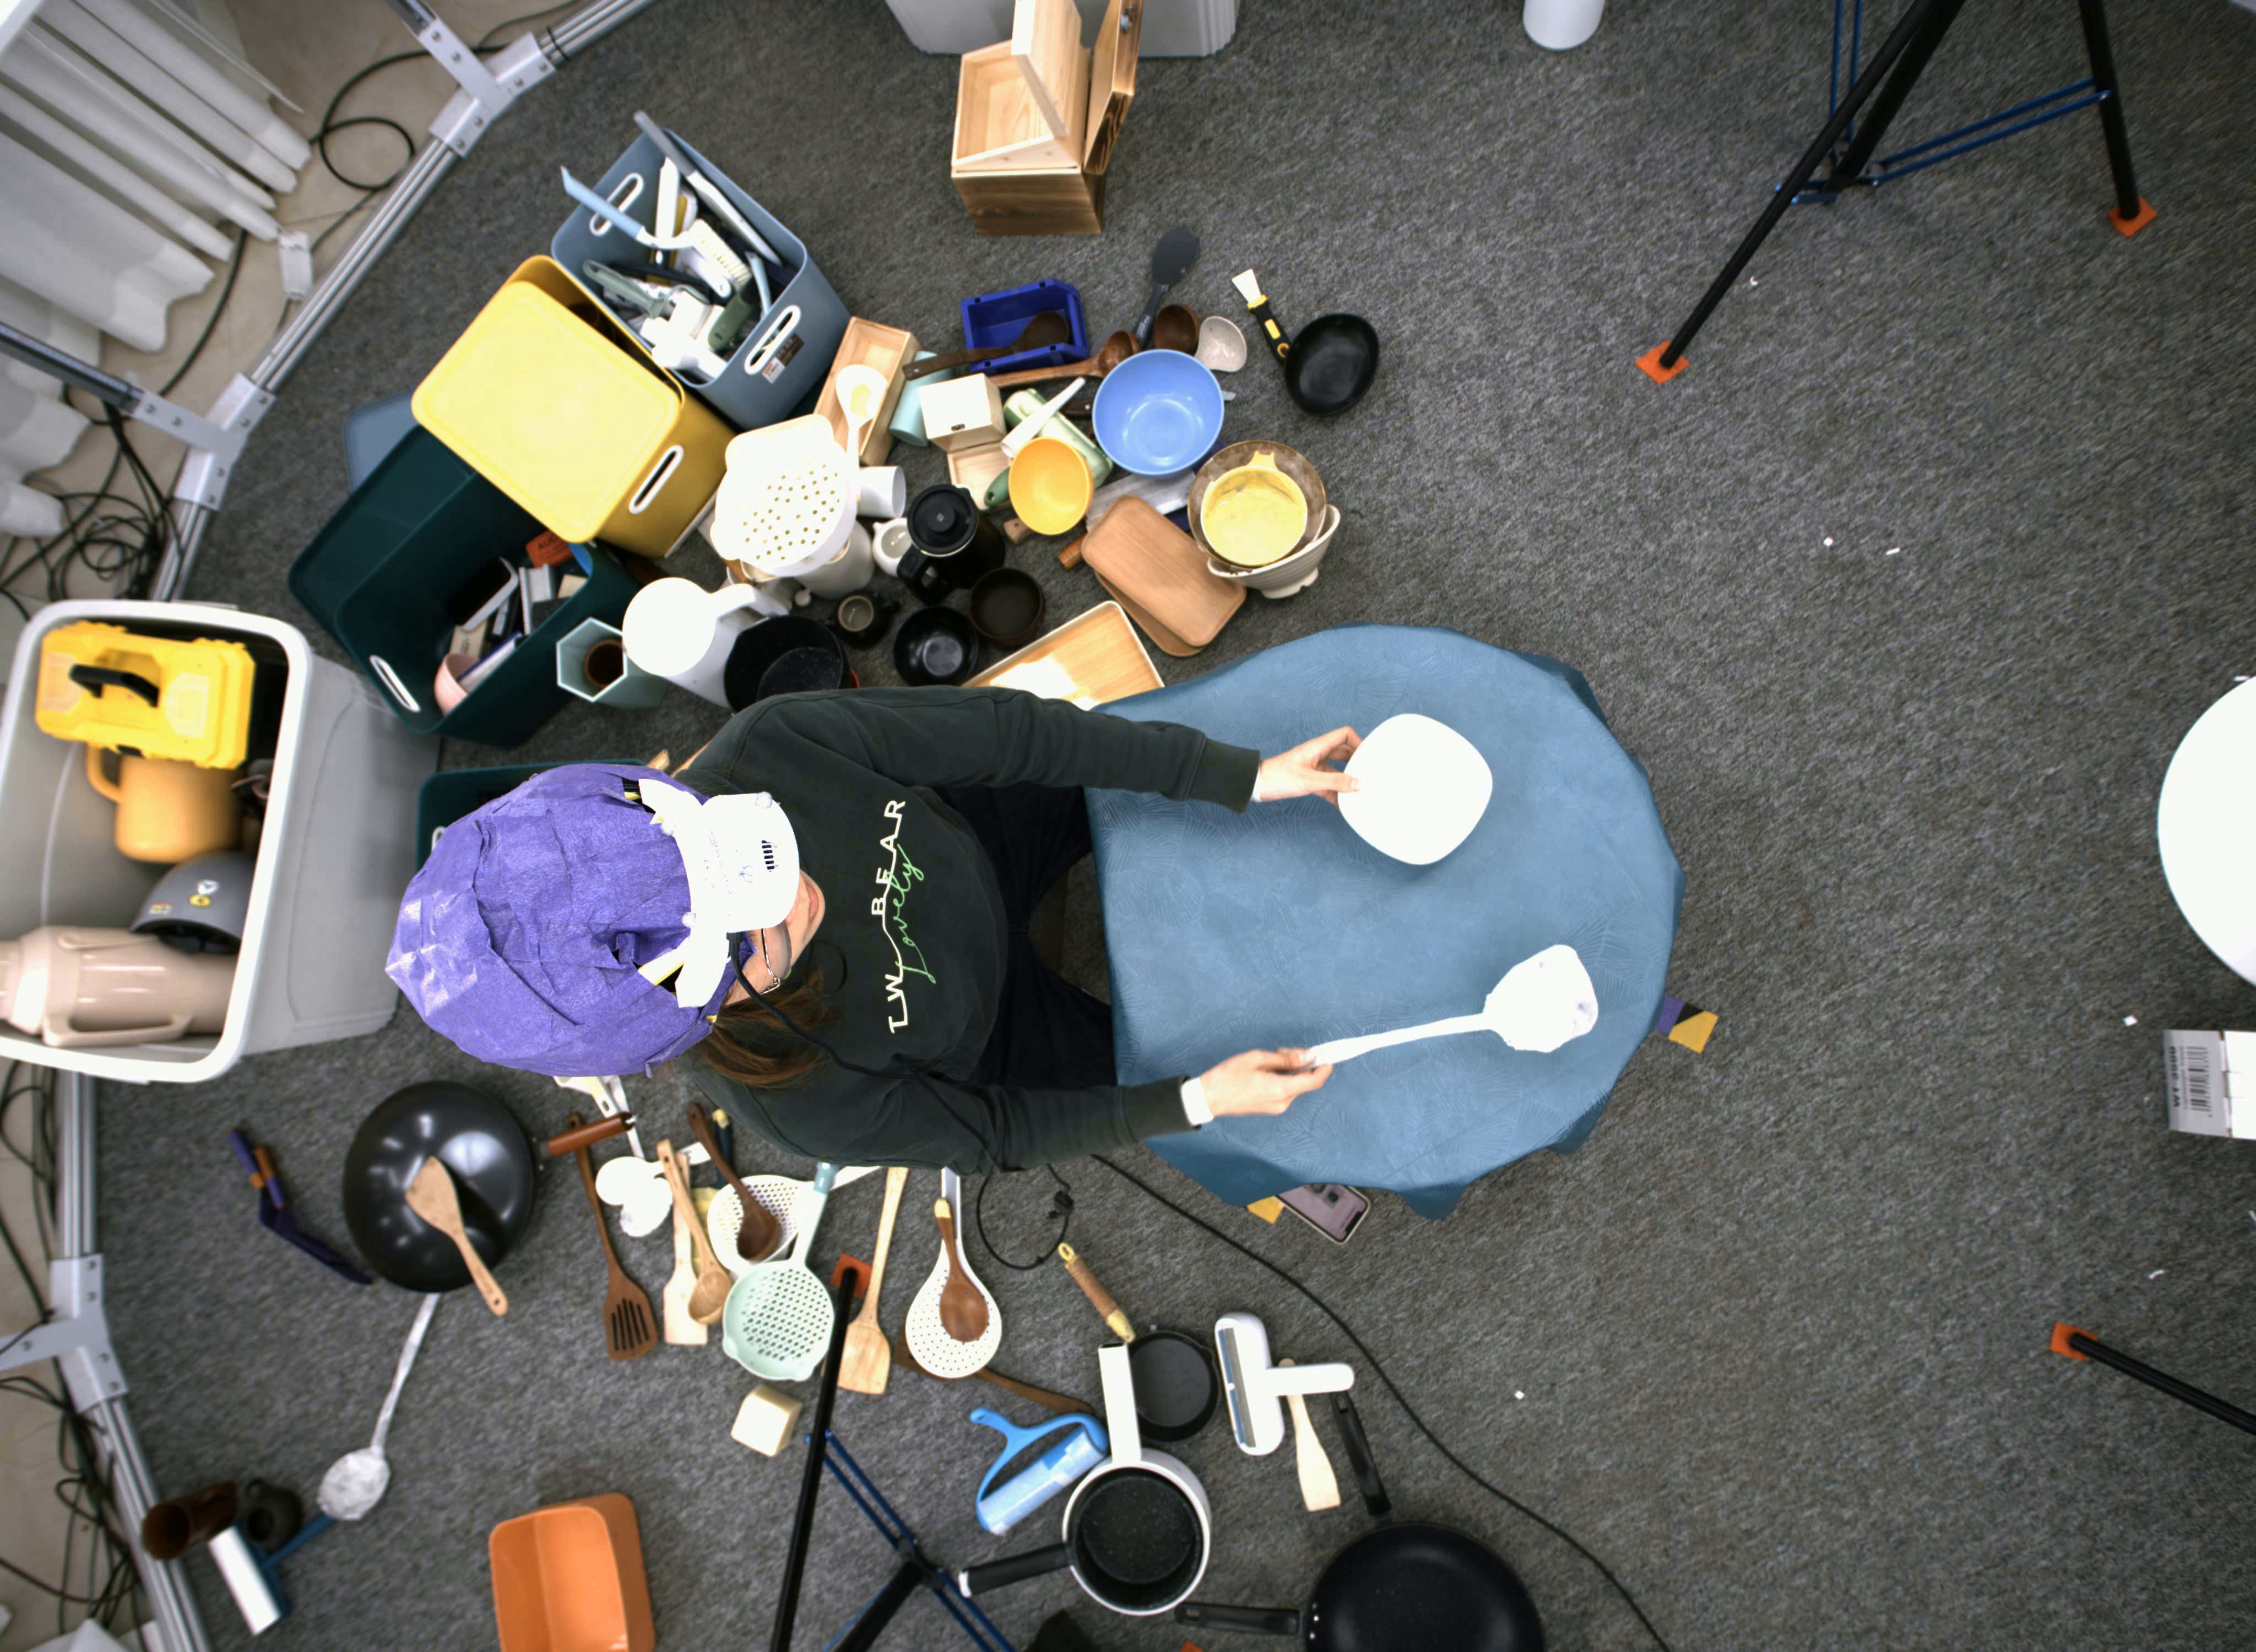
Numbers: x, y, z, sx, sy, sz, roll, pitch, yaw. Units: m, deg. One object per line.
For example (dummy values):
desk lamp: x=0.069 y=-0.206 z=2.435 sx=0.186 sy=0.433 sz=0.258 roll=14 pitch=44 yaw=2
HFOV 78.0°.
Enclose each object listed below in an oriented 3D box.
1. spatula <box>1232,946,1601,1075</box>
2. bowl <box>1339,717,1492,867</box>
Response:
spatula: x=0.279 y=0.200 z=1.364 sx=0.366 sy=0.045 sz=0.096 roll=-13 pitch=58 yaw=8
bowl: x=0.288 y=-0.038 z=1.392 sx=0.152 sy=0.058 sz=0.153 roll=1 pitch=101 yaw=7
